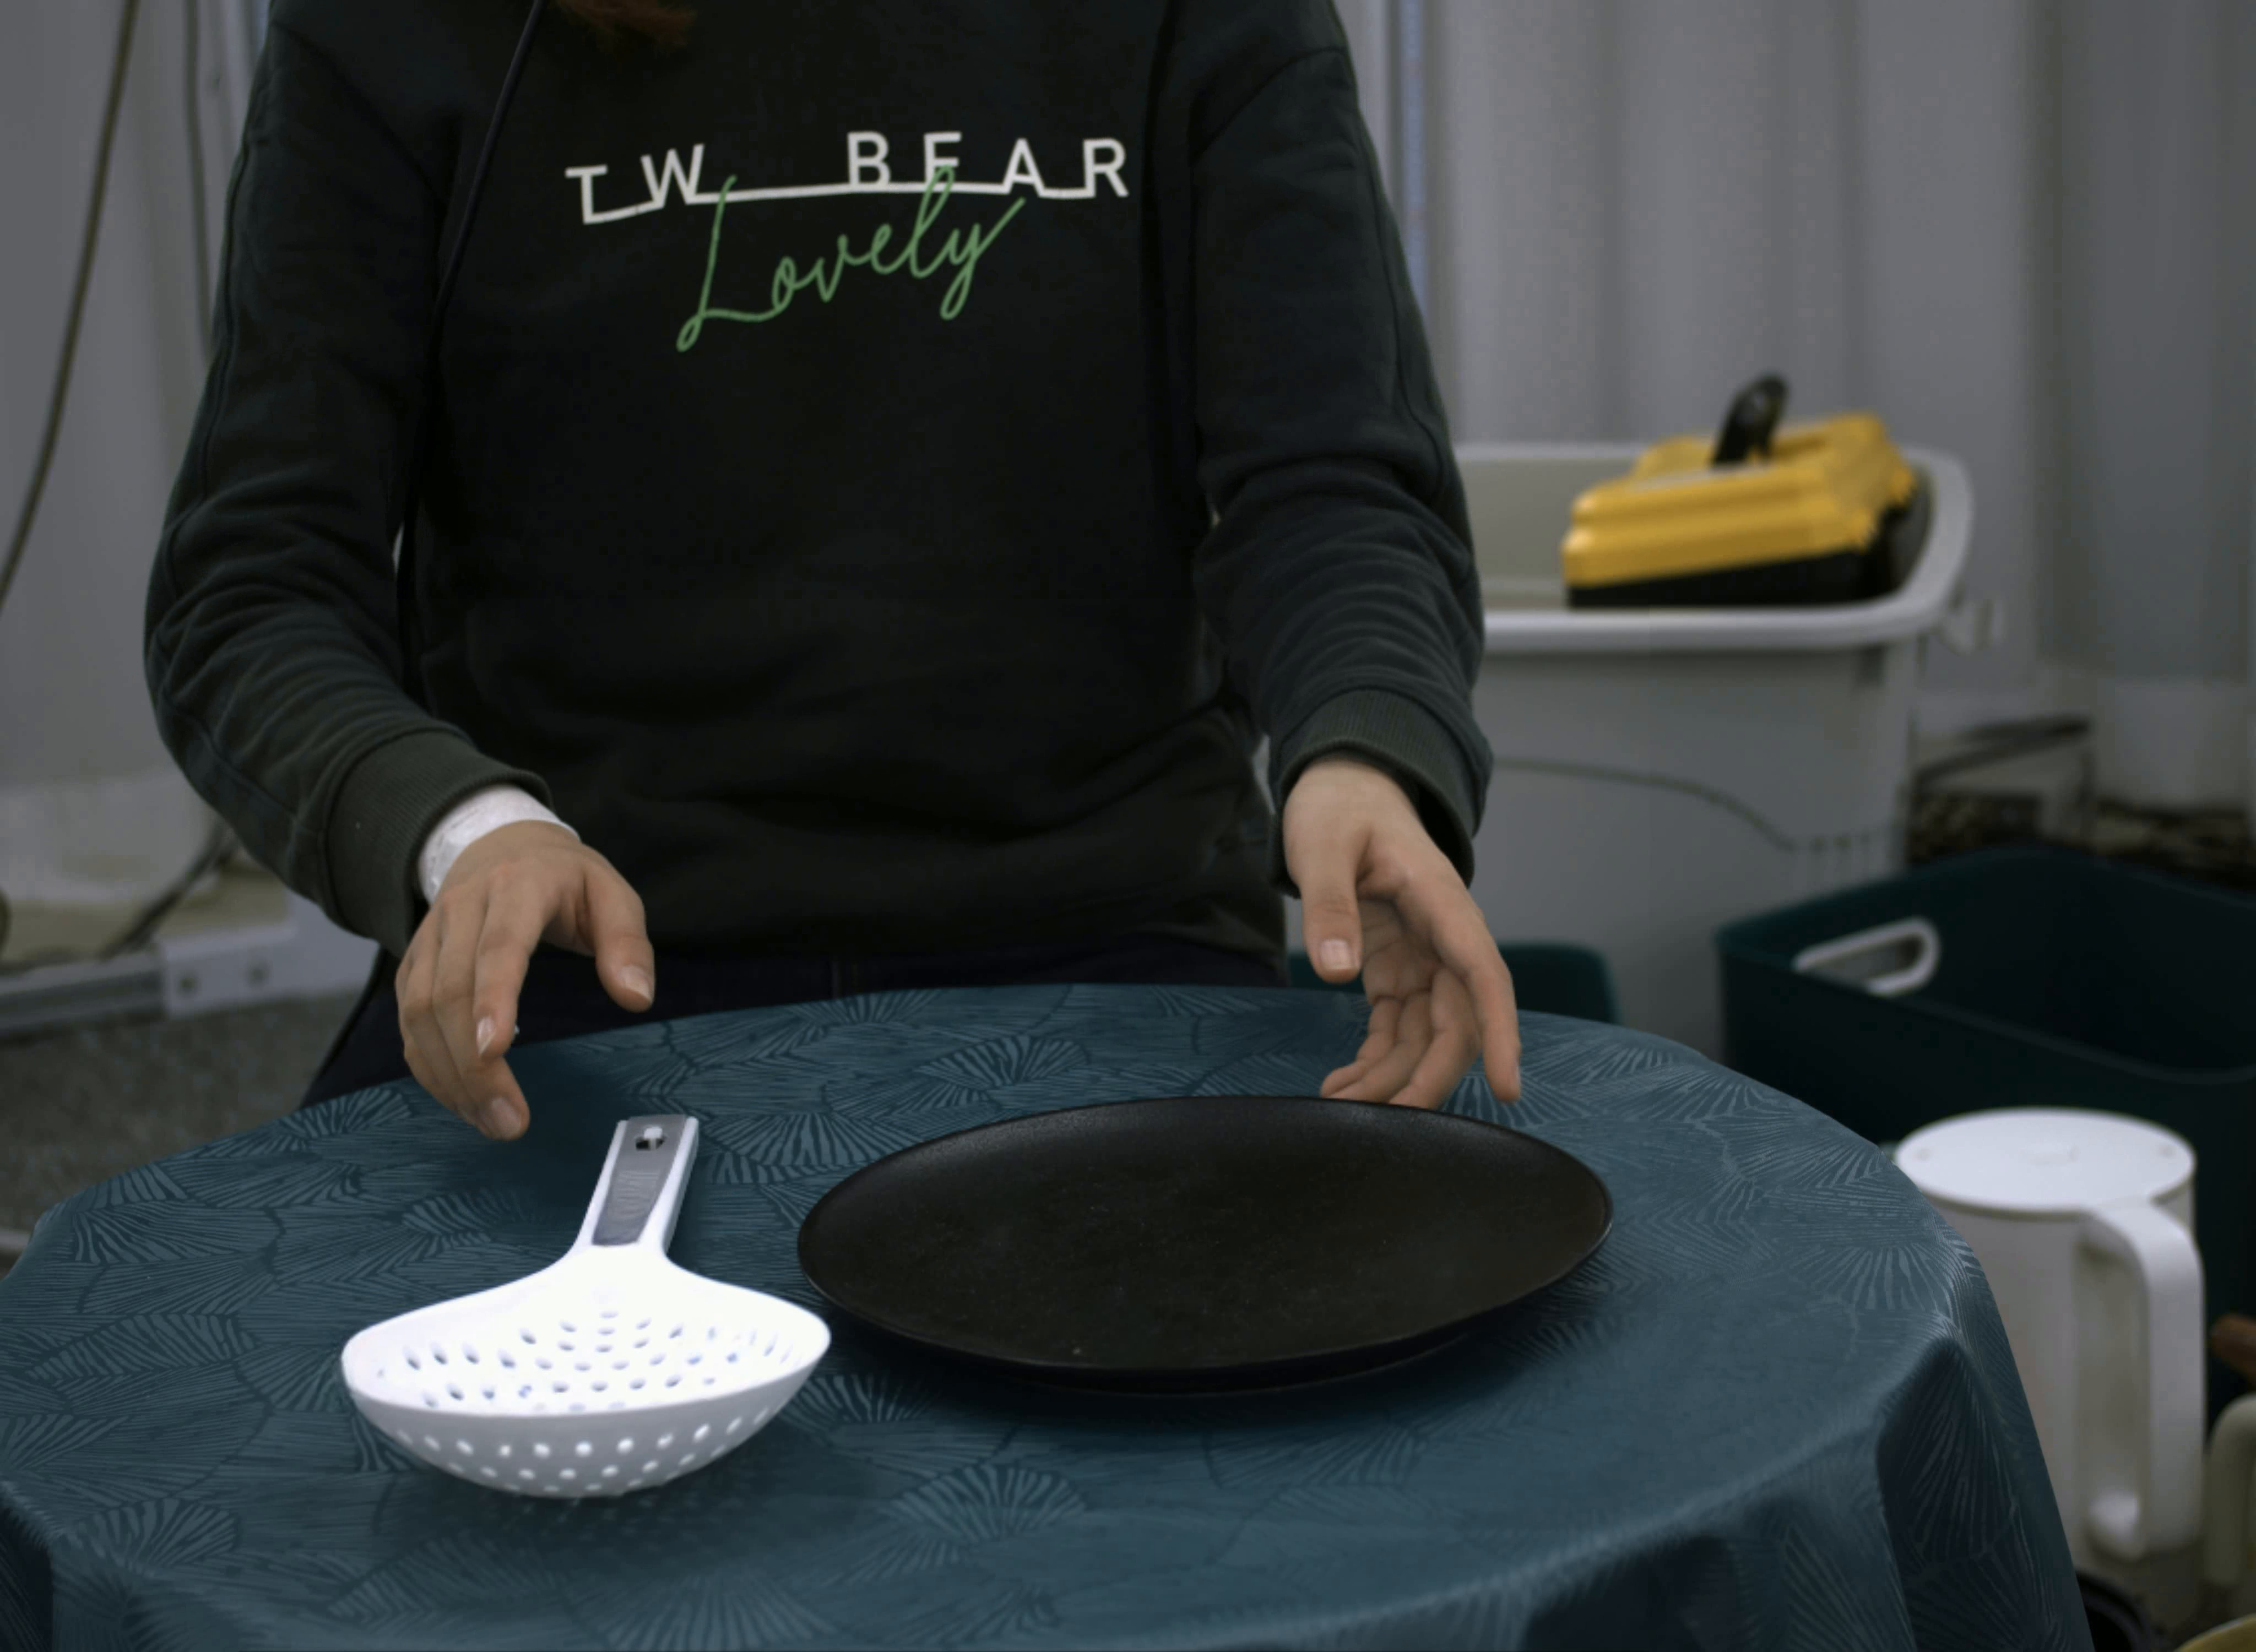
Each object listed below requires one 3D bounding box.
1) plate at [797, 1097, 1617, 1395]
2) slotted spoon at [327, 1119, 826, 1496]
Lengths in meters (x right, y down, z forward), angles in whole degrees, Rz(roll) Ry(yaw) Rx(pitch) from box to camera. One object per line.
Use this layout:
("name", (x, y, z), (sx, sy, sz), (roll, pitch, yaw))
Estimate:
("plate", (0.024, 0.127, 1.620), (0.243, 0.023, 0.246), (-3, 15, 0))
("slotted spoon", (-0.150, 0.131, 1.595), (0.135, 0.045, 0.352), (-1, 14, 0))
